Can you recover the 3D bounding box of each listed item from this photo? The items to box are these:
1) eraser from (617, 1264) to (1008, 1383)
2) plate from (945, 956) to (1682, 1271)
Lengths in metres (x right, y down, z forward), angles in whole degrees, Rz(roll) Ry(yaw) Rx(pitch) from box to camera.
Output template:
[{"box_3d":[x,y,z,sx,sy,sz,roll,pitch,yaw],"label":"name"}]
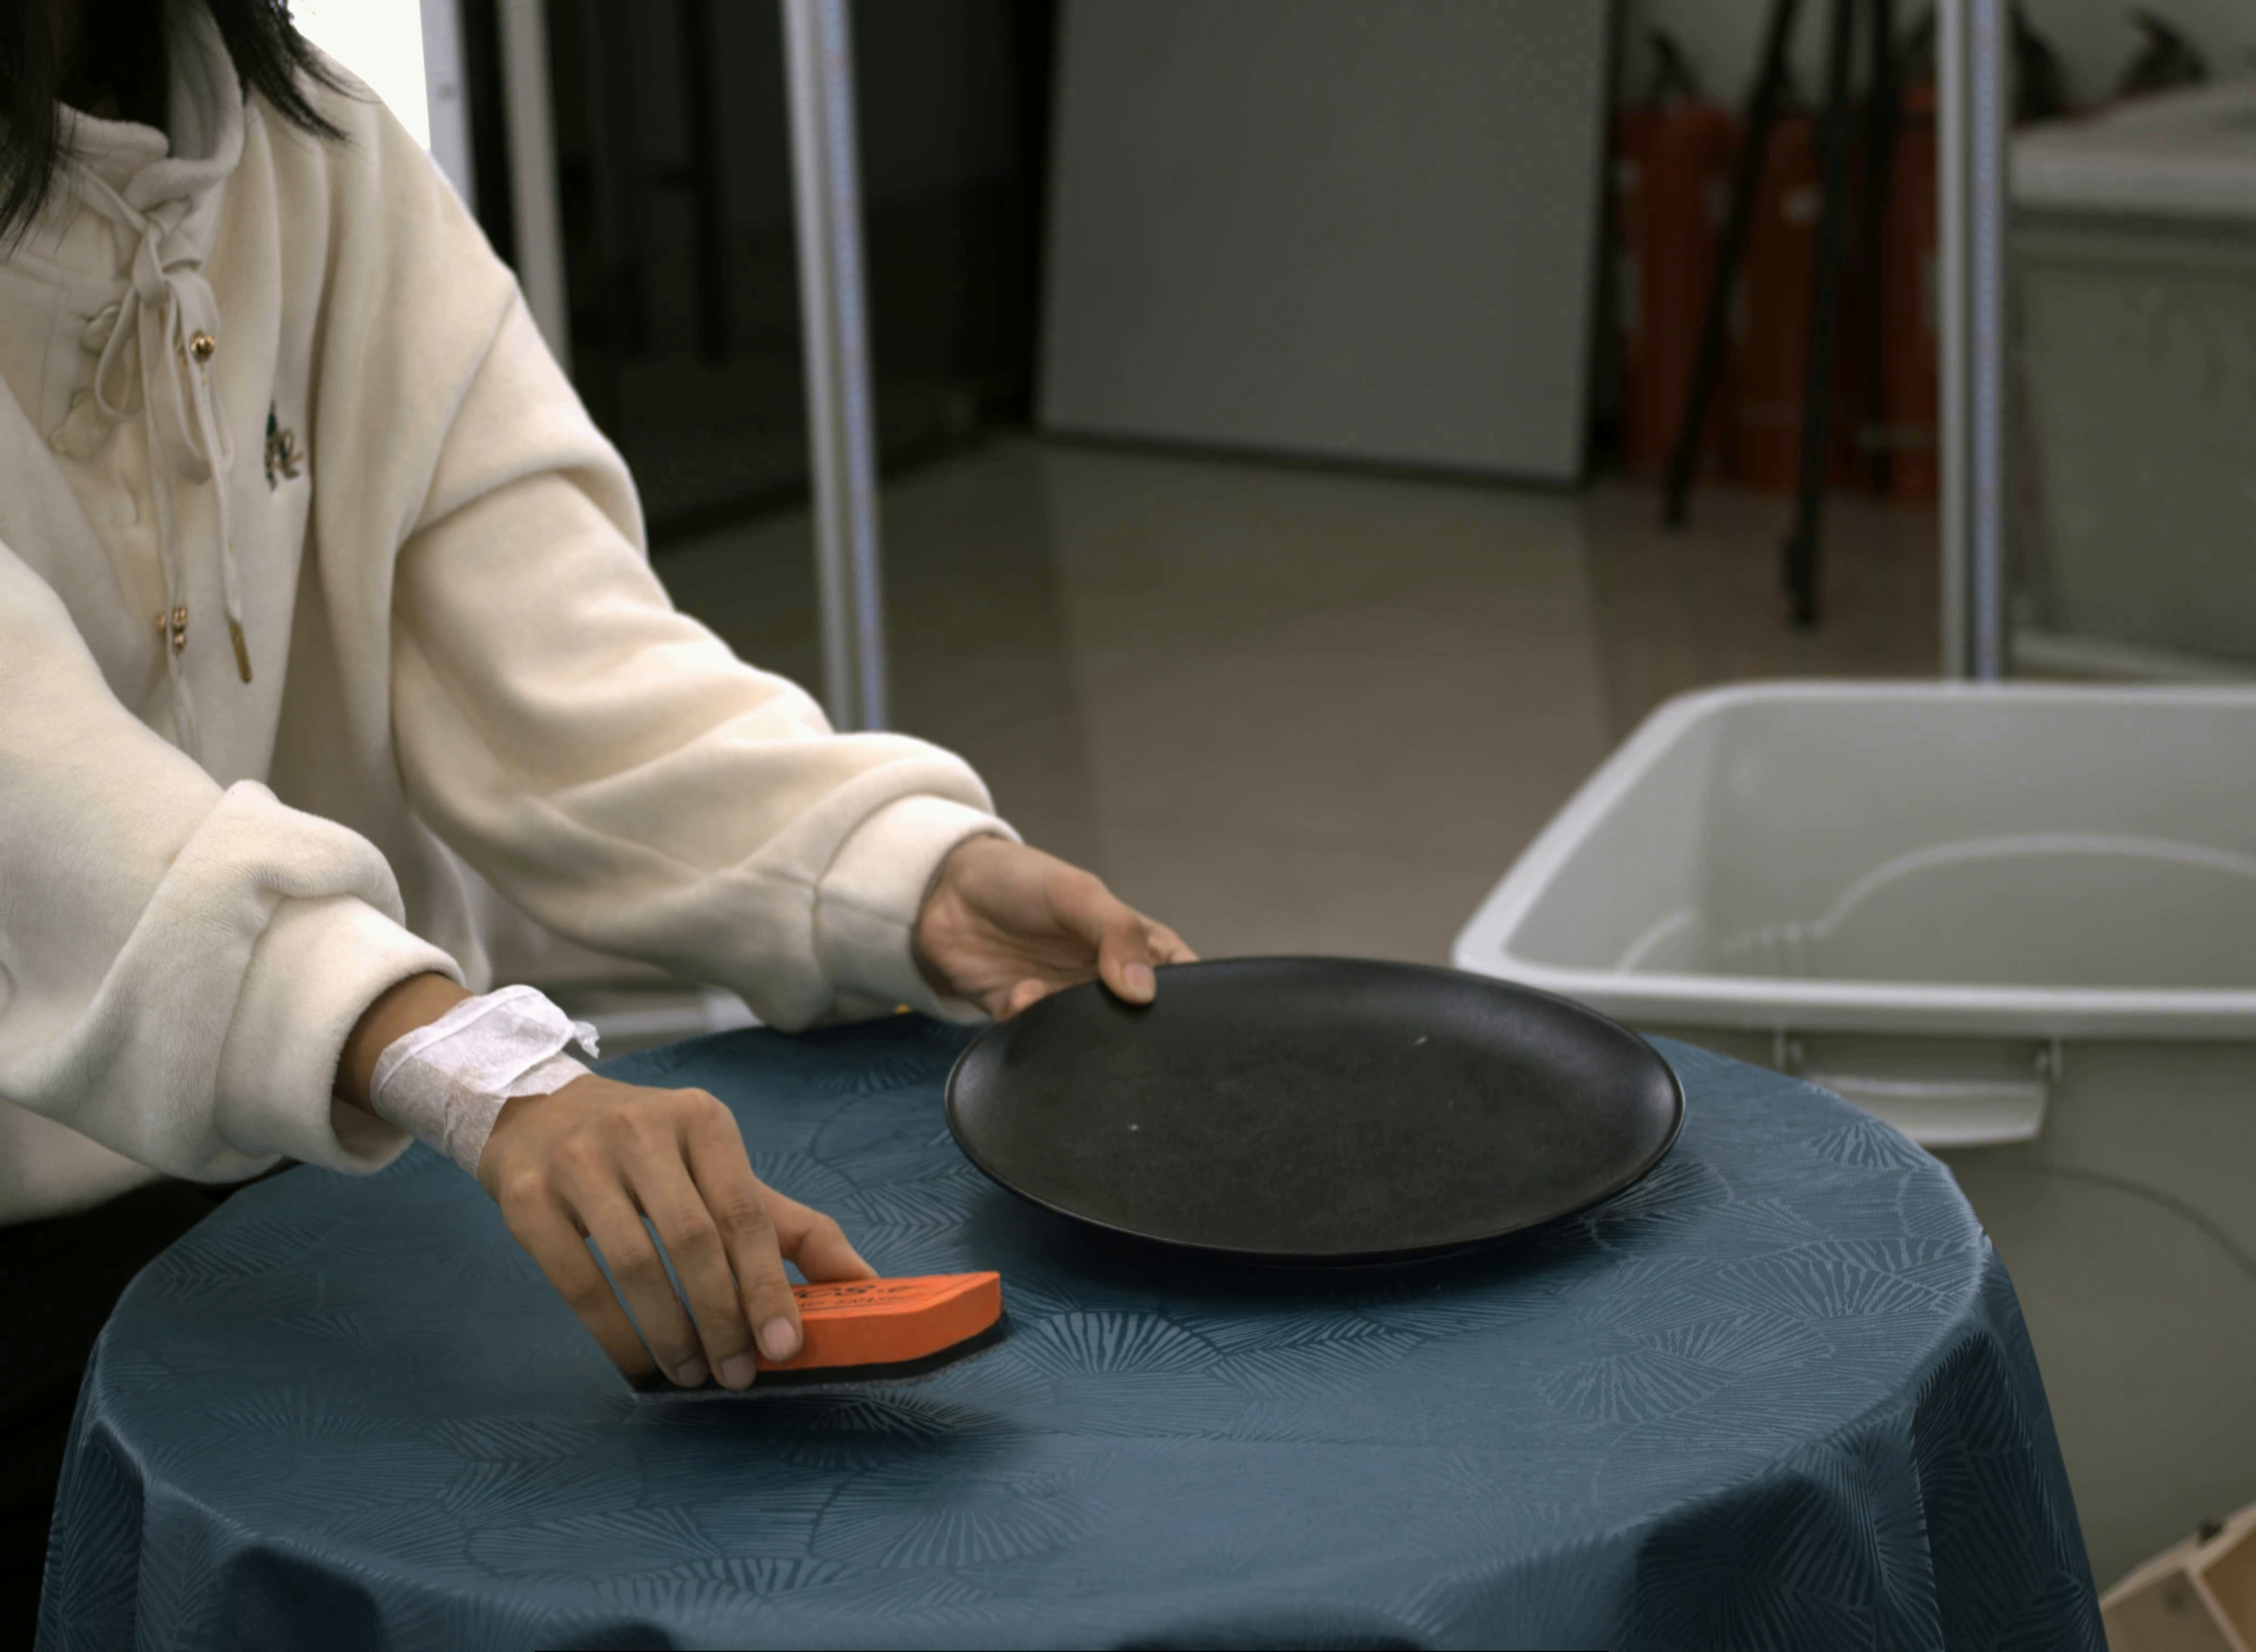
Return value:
[{"box_3d":[-0.092,0.145,1.578,0.108,0.023,0.058,-4,7,32],"label":"eraser"},{"box_3d":[0.061,0.096,1.756,0.241,0.023,0.245,-1,20,0],"label":"plate"}]
